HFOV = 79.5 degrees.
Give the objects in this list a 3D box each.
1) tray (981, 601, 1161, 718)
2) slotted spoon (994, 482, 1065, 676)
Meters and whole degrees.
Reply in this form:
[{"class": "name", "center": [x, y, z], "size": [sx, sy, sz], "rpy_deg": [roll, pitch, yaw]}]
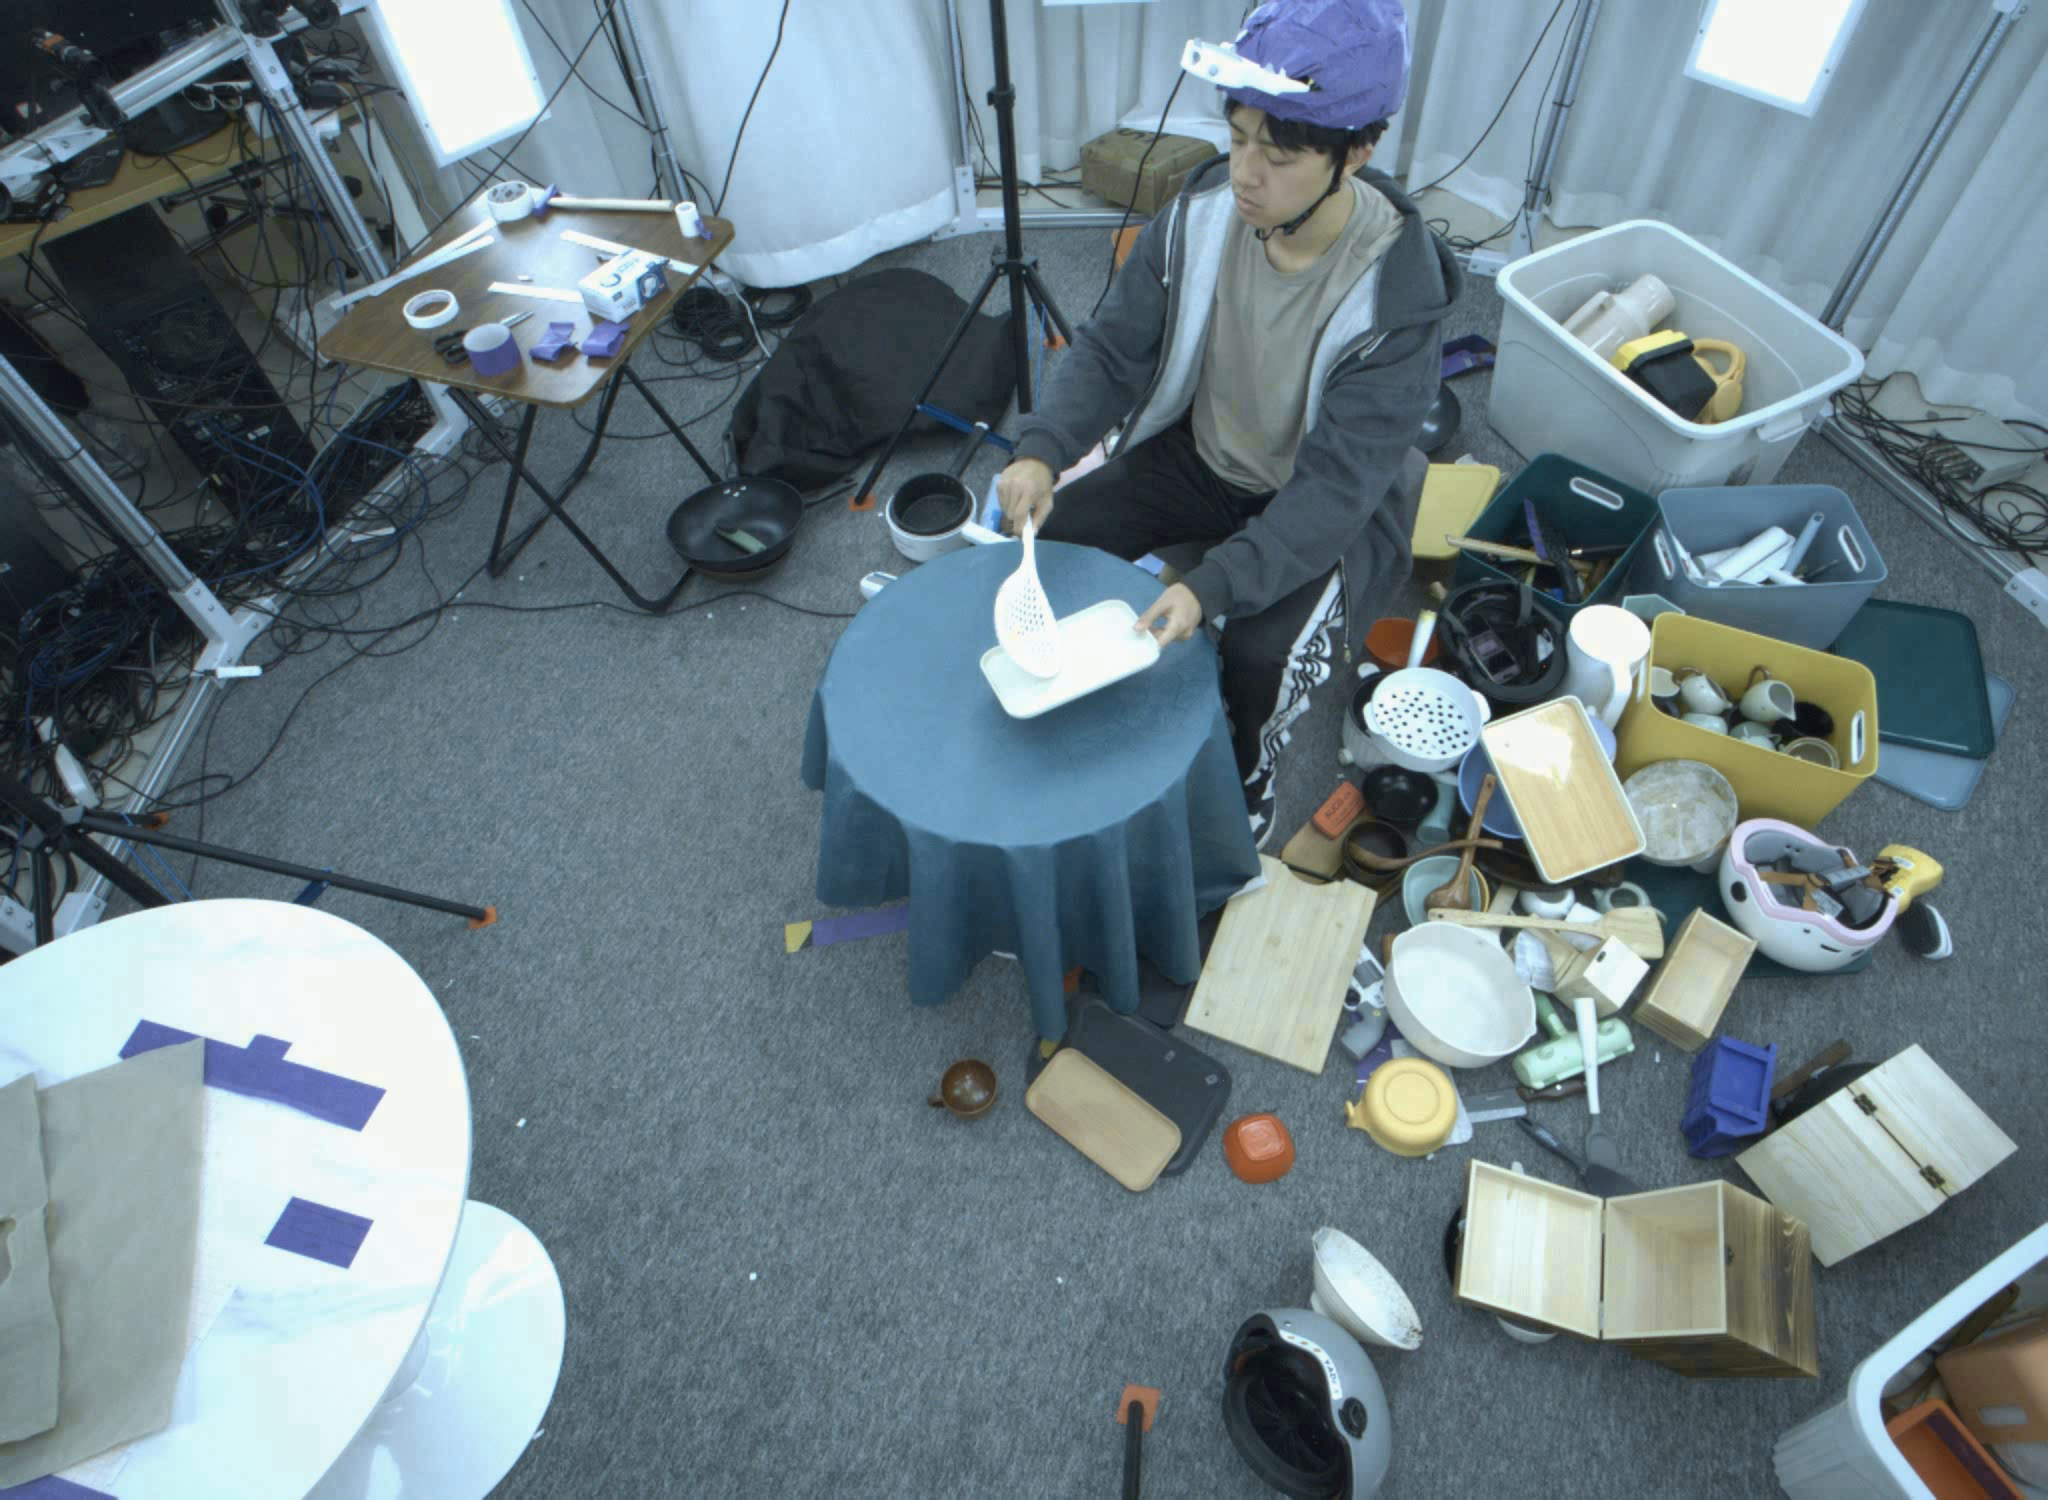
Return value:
[{"class": "tray", "center": [0.067, -0.131, 1.780], "size": [0.240, 0.018, 0.168], "rpy_deg": [-23, 43, -7]}, {"class": "slotted spoon", "center": [-0.003, -0.261, 1.803], "size": [0.049, 0.140, 0.345], "rpy_deg": [-22, 57, 40]}]
